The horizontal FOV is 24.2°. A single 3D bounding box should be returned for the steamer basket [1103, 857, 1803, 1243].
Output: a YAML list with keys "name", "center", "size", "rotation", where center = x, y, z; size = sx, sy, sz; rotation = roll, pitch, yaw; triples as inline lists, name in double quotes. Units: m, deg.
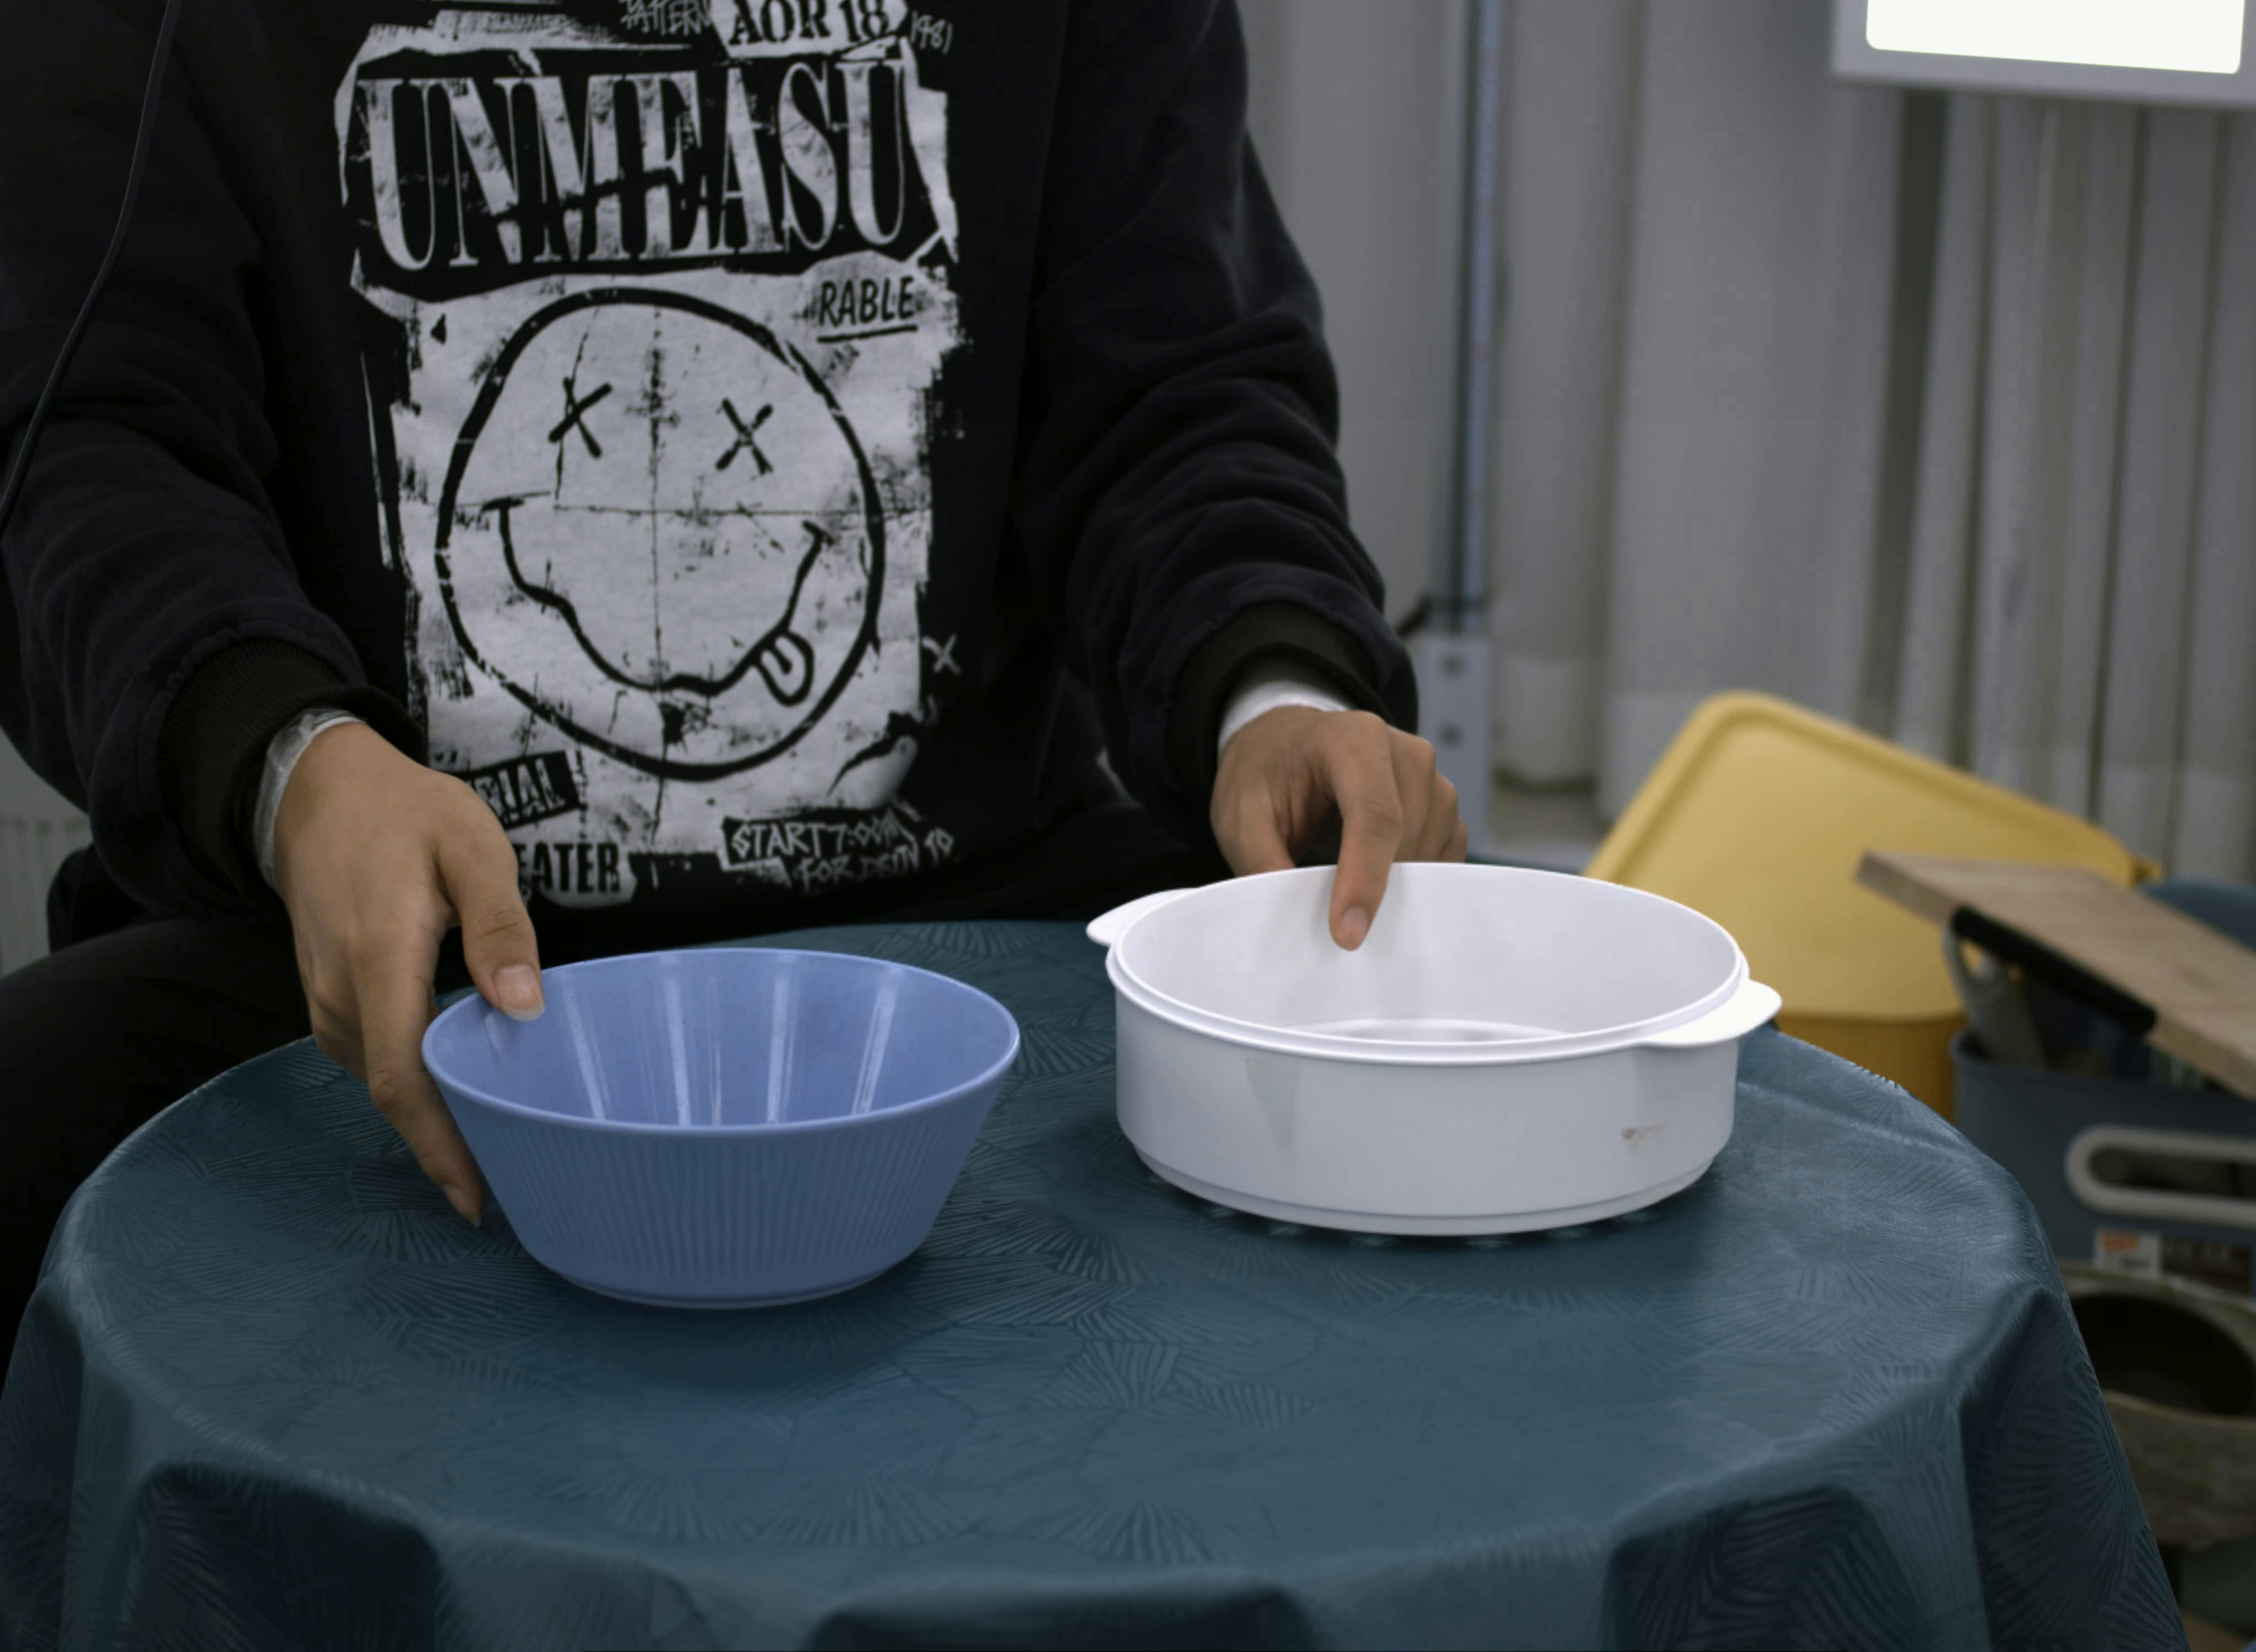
- name: "steamer basket"
  center: [0.098, 0.070, 1.654]
  size: [0.228, 0.070, 0.202]
  rotation: [12, 20, 29]

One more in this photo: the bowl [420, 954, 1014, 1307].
- name: "bowl"
  center: [-0.122, 0.092, 1.563]
  size: [0.175, 0.071, 0.175]
  rotation: [2, 15, 0]
